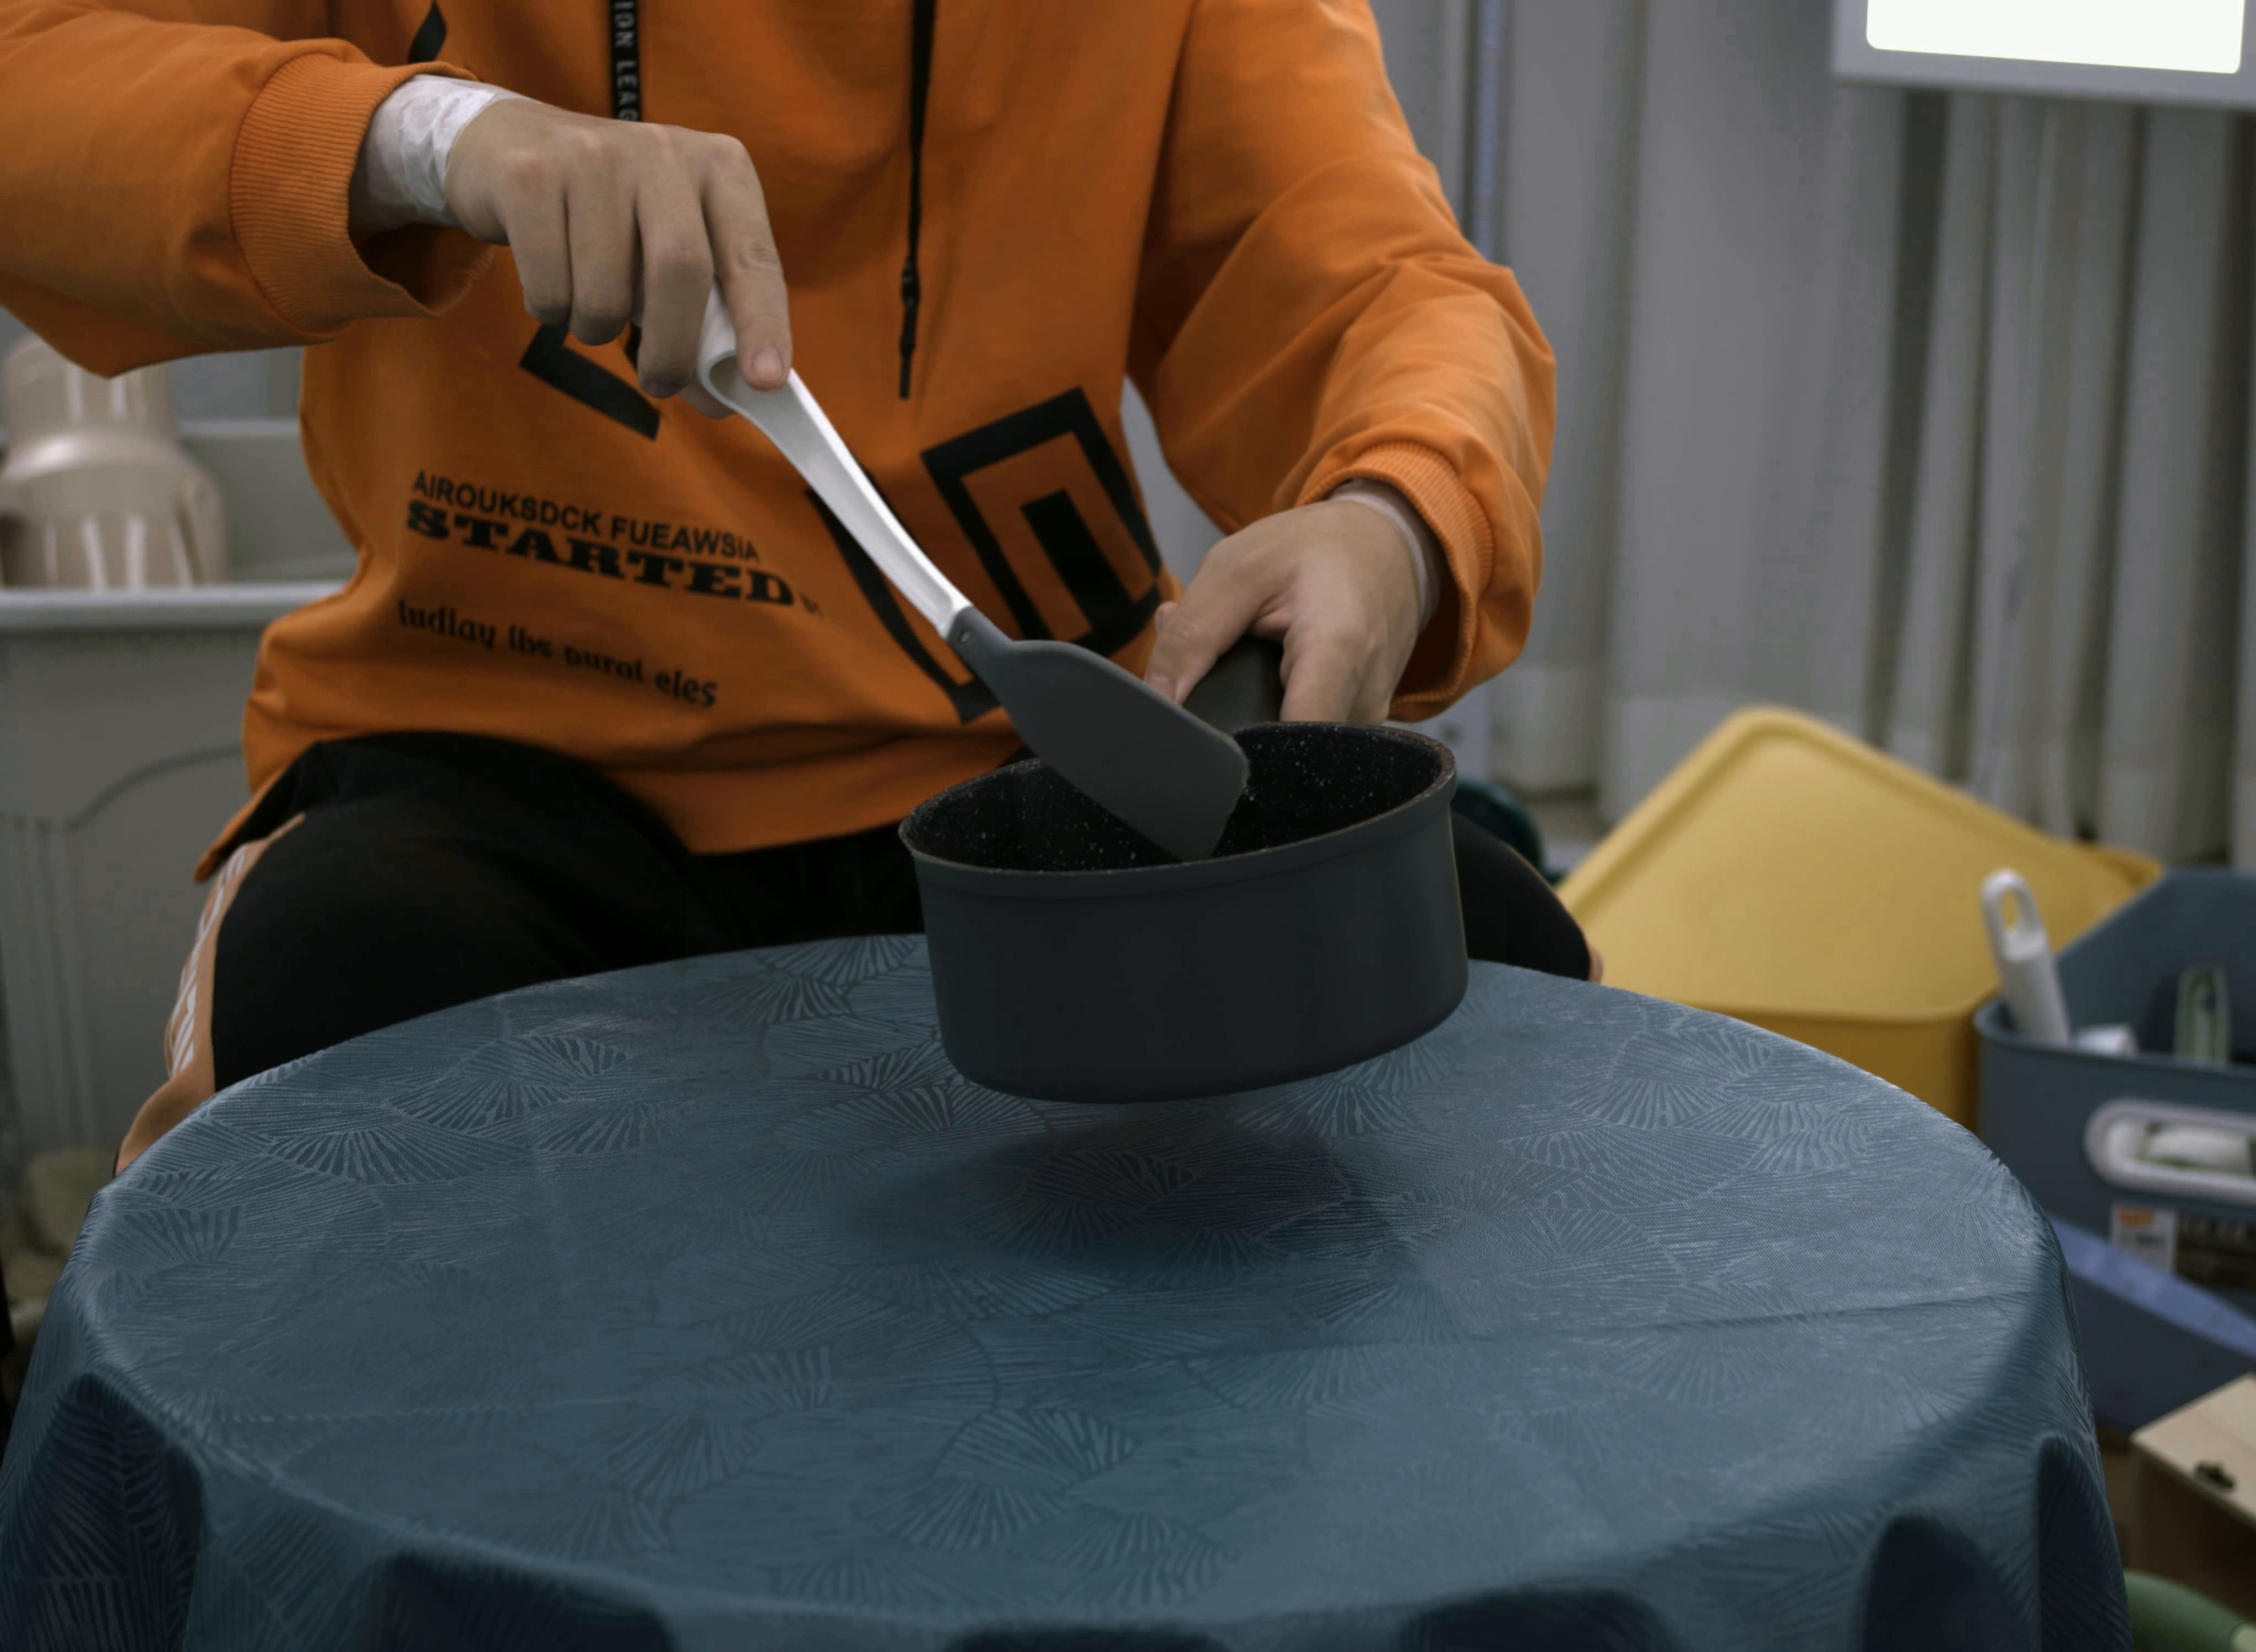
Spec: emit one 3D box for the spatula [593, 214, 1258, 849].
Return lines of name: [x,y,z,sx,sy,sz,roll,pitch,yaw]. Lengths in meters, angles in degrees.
spatula: [-0.068,-0.092,1.661,0.285,0.059,0.032,45,39,20]

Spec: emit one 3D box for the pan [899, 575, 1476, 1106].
pan: [0.032,0.001,1.678,0.171,0.087,0.328,-4,16,11]
